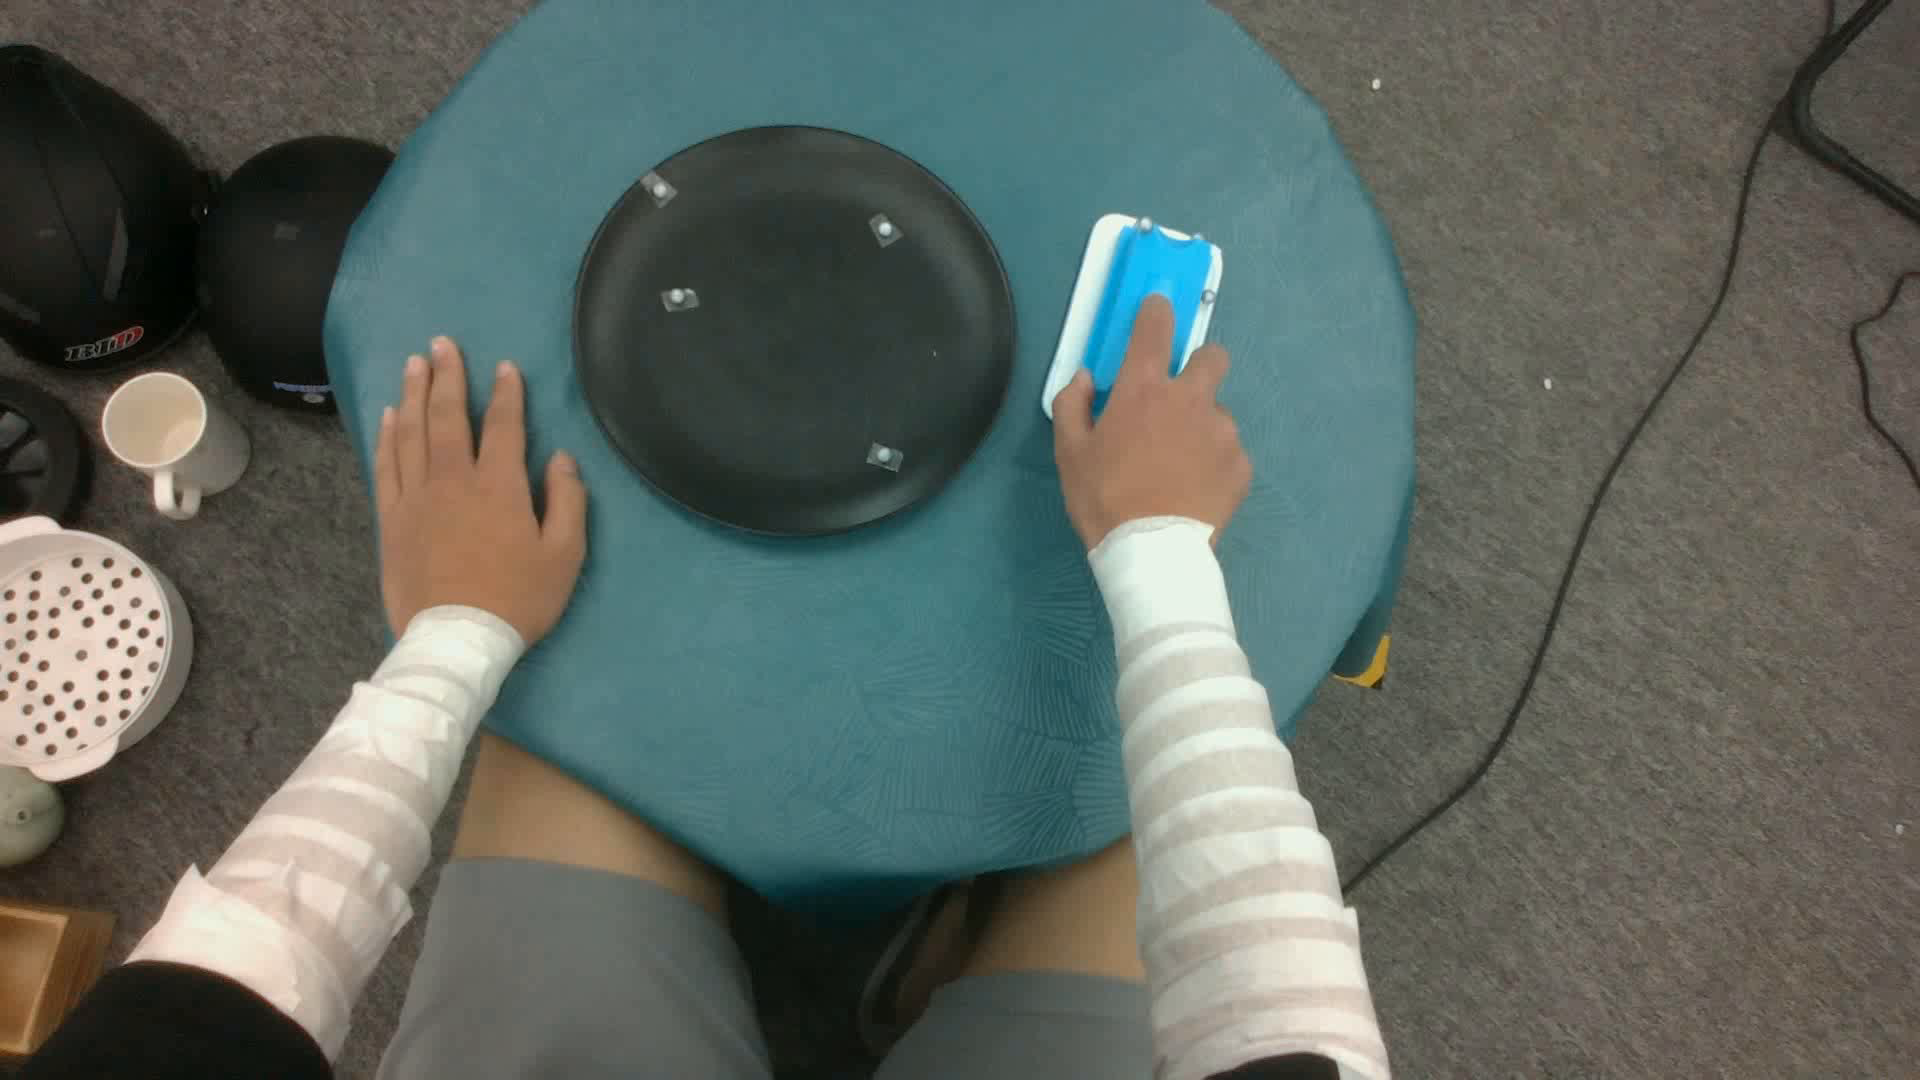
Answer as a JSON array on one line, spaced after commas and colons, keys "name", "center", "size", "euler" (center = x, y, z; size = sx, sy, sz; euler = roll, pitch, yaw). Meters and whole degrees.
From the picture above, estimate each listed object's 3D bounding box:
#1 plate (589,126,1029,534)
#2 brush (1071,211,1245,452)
[{"name": "plate", "center": [-0.083, -0.120, 0.776], "size": [0.244, 0.023, 0.245], "euler": [1, 76, -6]}, {"name": "brush", "center": [0.115, -0.124, 0.777], "size": [0.084, 0.056, 0.144], "euler": [13, 72, 2]}]
